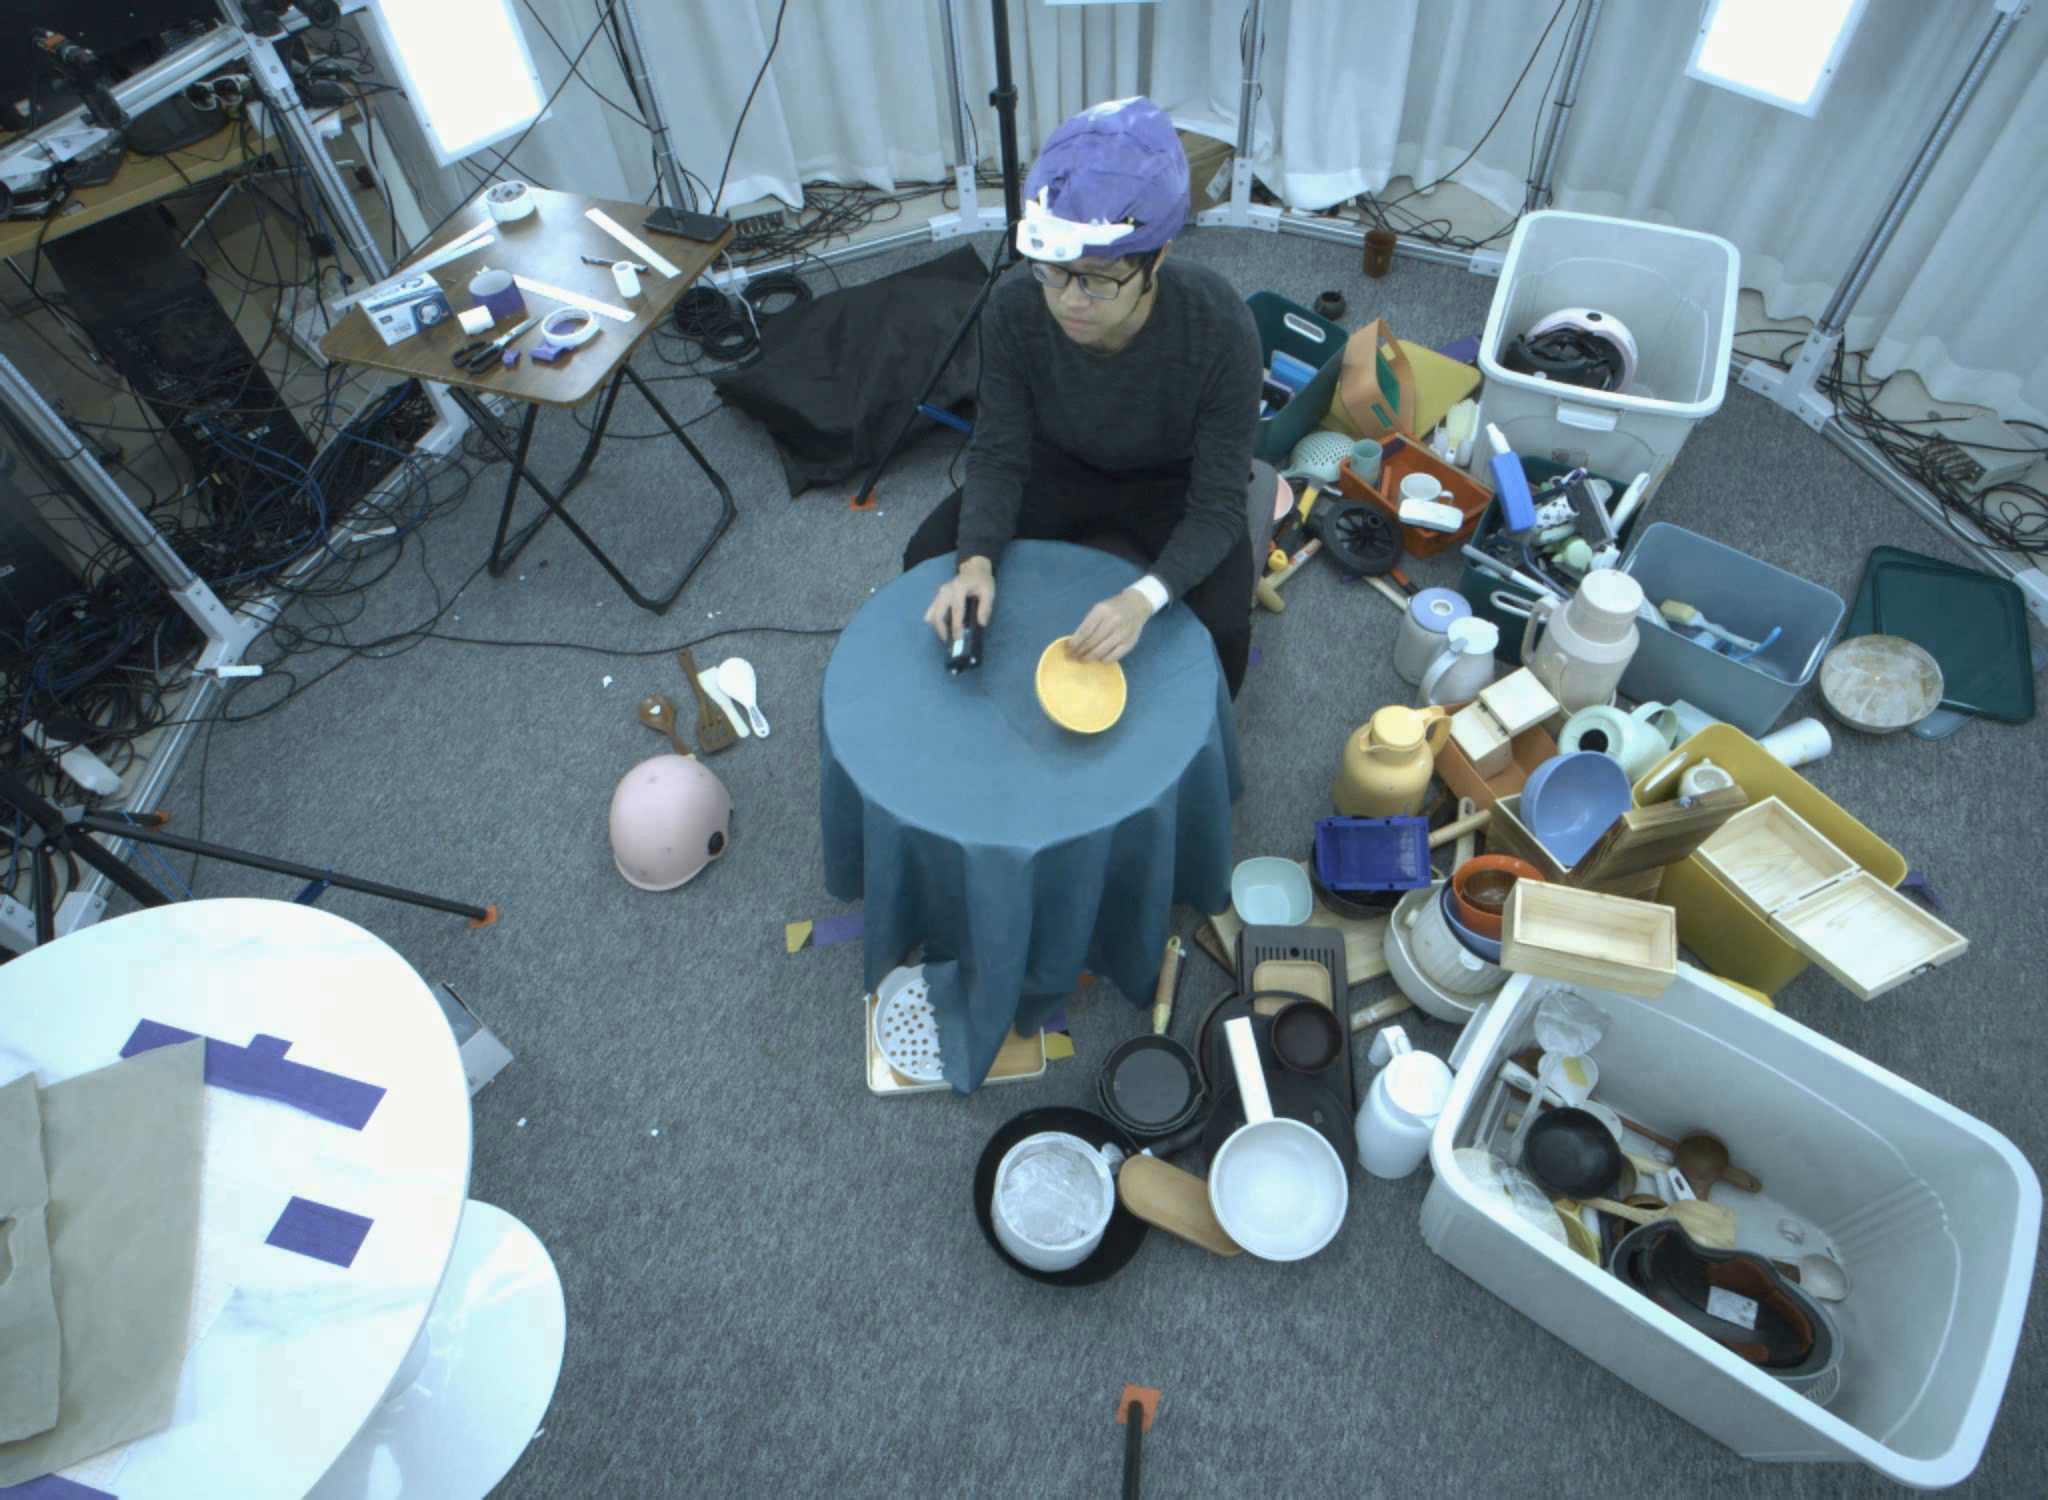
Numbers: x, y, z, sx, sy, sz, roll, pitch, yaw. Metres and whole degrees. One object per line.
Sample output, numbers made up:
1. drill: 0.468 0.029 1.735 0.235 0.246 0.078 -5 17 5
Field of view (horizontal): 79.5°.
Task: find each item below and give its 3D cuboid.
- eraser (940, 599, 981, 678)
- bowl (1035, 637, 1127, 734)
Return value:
1. eraser: -0.095 -0.169 1.854 0.053 0.031 0.124 -16 52 24
2. bowl: 0.073 -0.086 1.784 0.148 0.059 0.144 7 74 -24
